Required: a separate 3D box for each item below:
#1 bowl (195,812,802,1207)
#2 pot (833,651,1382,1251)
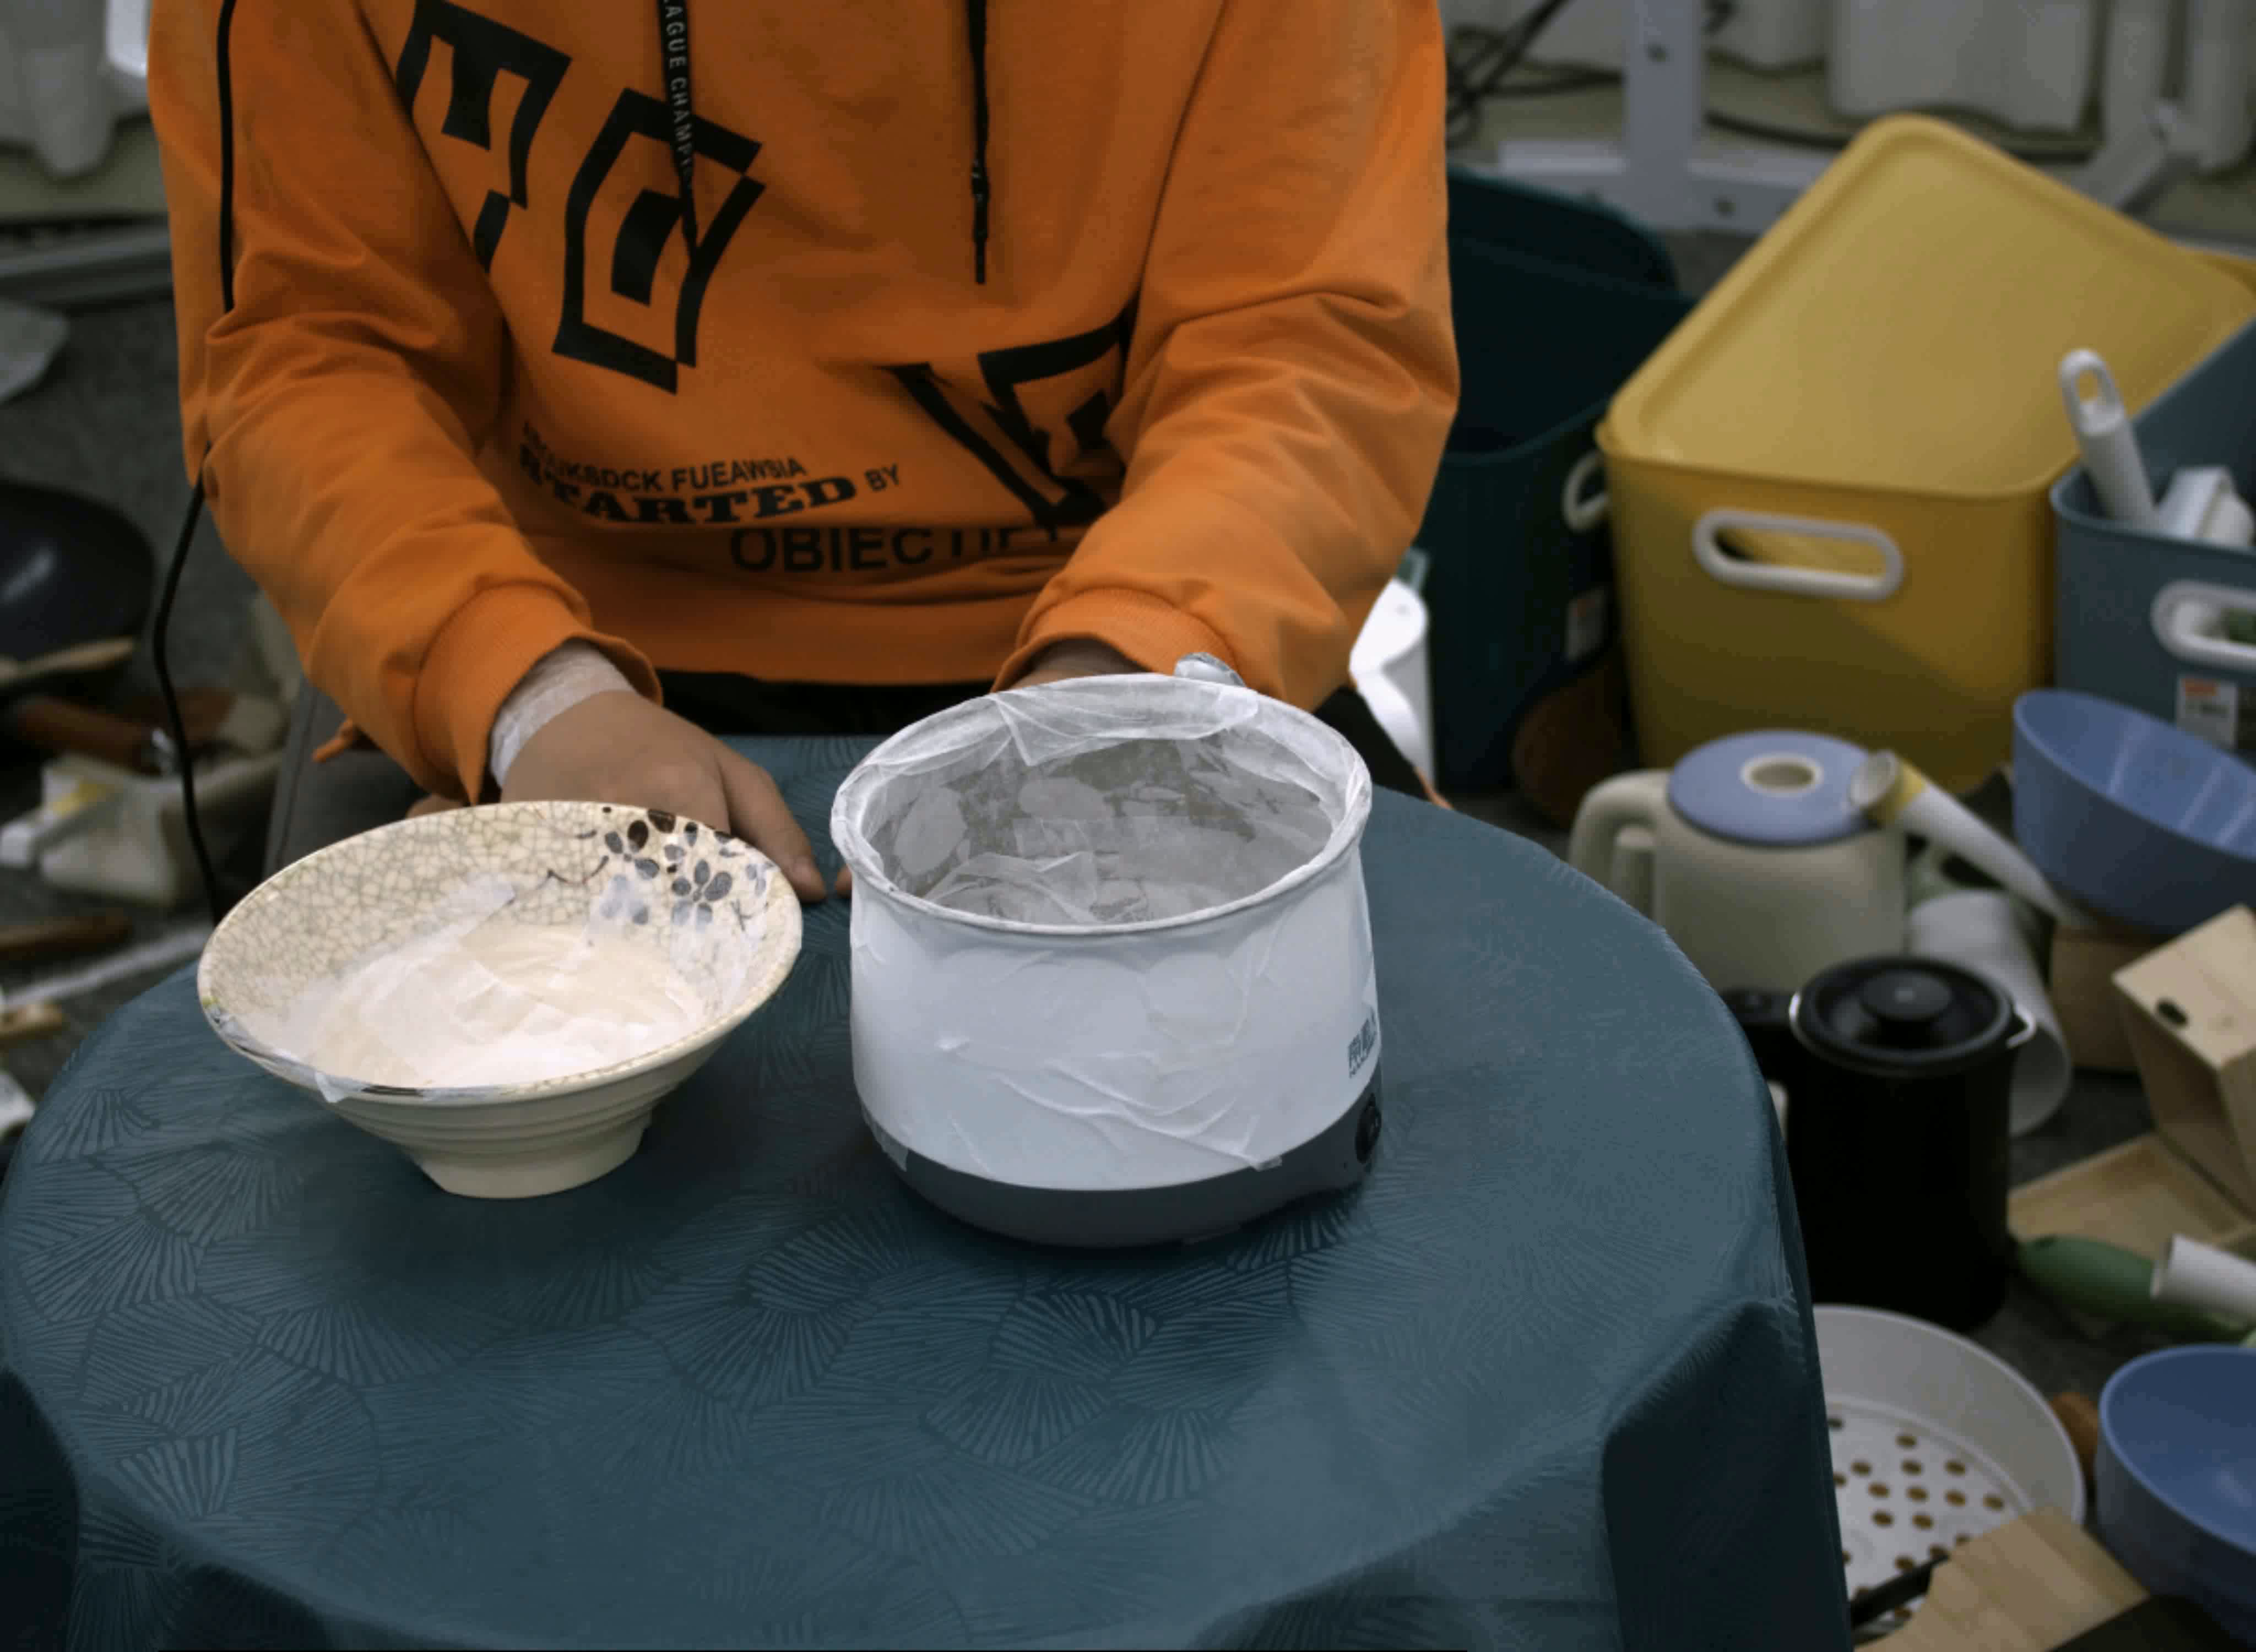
[{"bbox_3d":[-0.208,0.074,1.895,0.203,0.077,0.207,-3,25,2],"label":"bowl"},{"bbox_3d":[0.003,0.034,1.884,0.177,0.135,0.238,6,29,17],"label":"pot"}]
